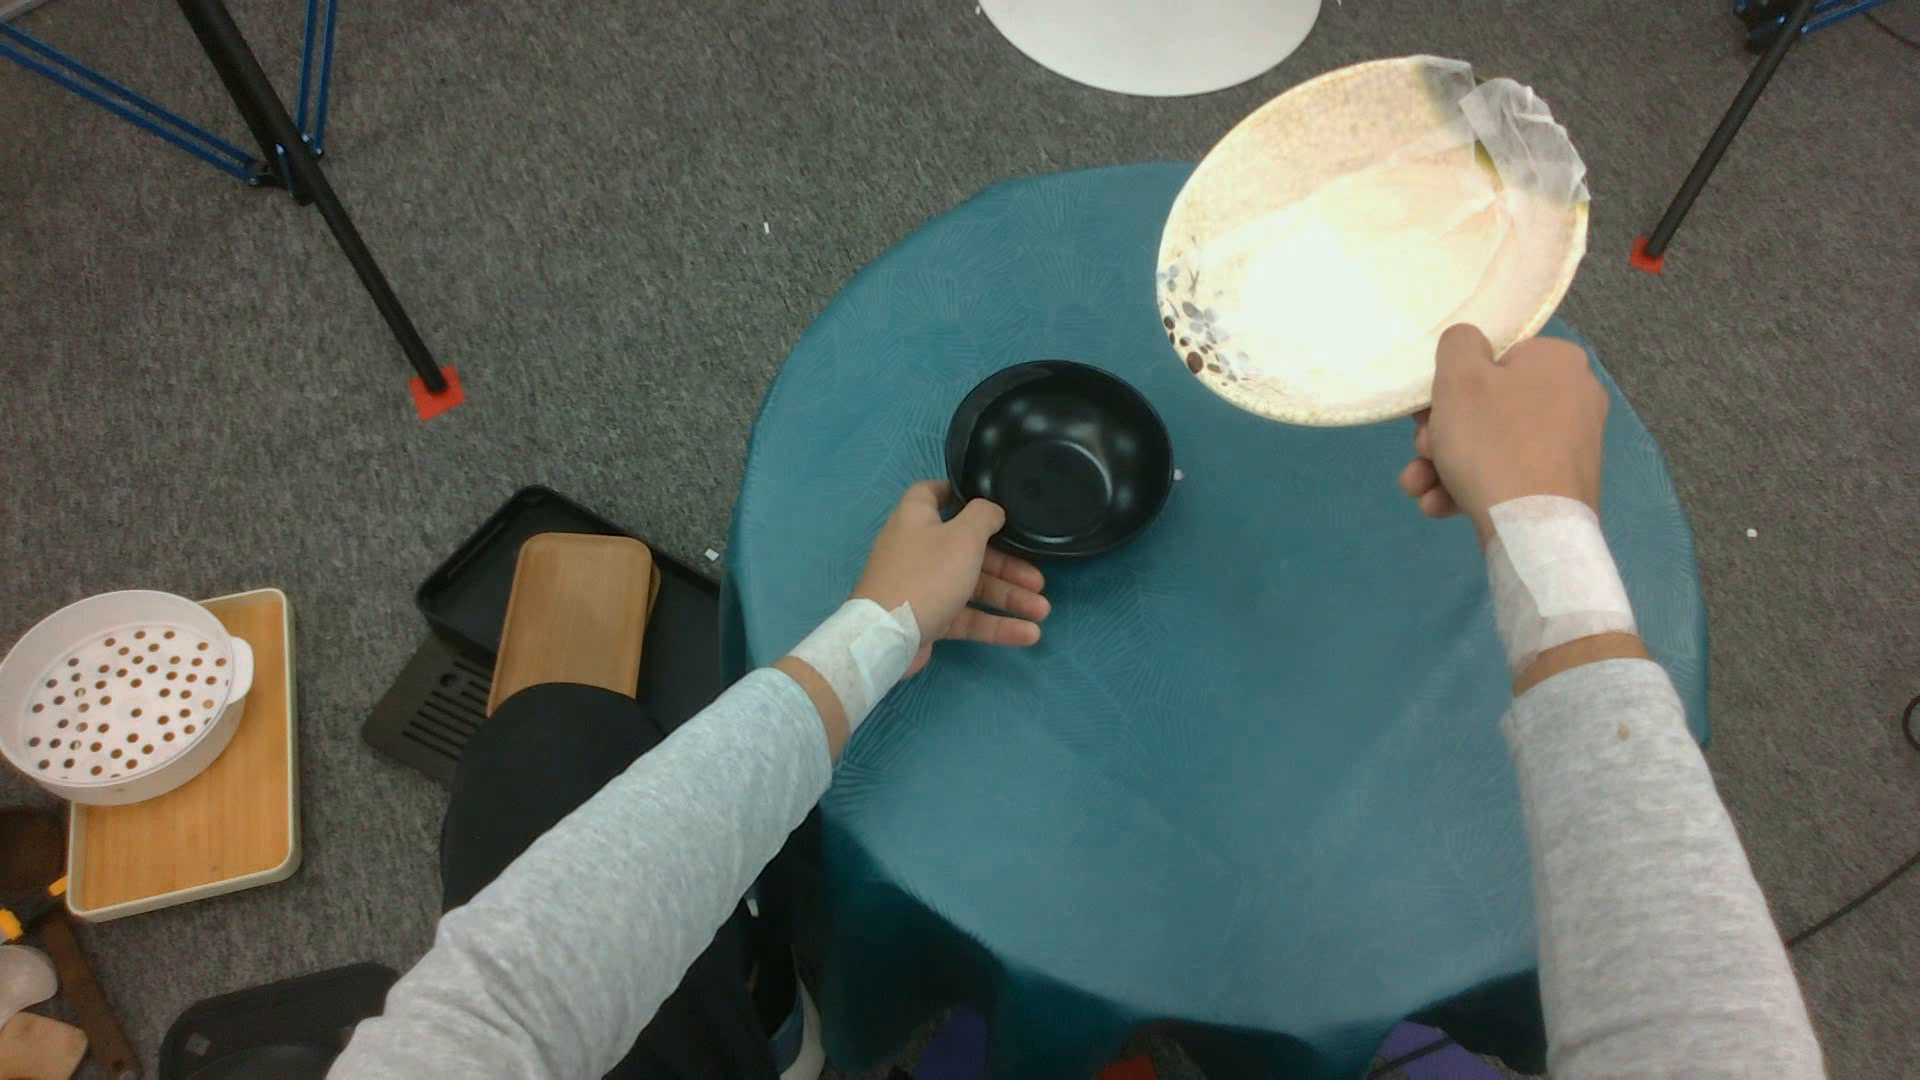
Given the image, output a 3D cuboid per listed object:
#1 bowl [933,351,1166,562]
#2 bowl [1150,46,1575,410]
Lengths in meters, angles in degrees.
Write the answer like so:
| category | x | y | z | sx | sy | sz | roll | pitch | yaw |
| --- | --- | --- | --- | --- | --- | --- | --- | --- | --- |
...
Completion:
| category | x | y | z | sx | sy | sz | roll | pitch | yaw |
| --- | --- | --- | --- | --- | --- | --- | --- | --- | --- |
| bowl | 0.053 | -0.045 | 0.842 | 0.140 | 0.049 | 0.140 | 0 | 66 | -1 |
| bowl | 0.205 | -0.143 | 0.699 | 0.203 | 0.078 | 0.204 | -11 | 64 | 24 |
